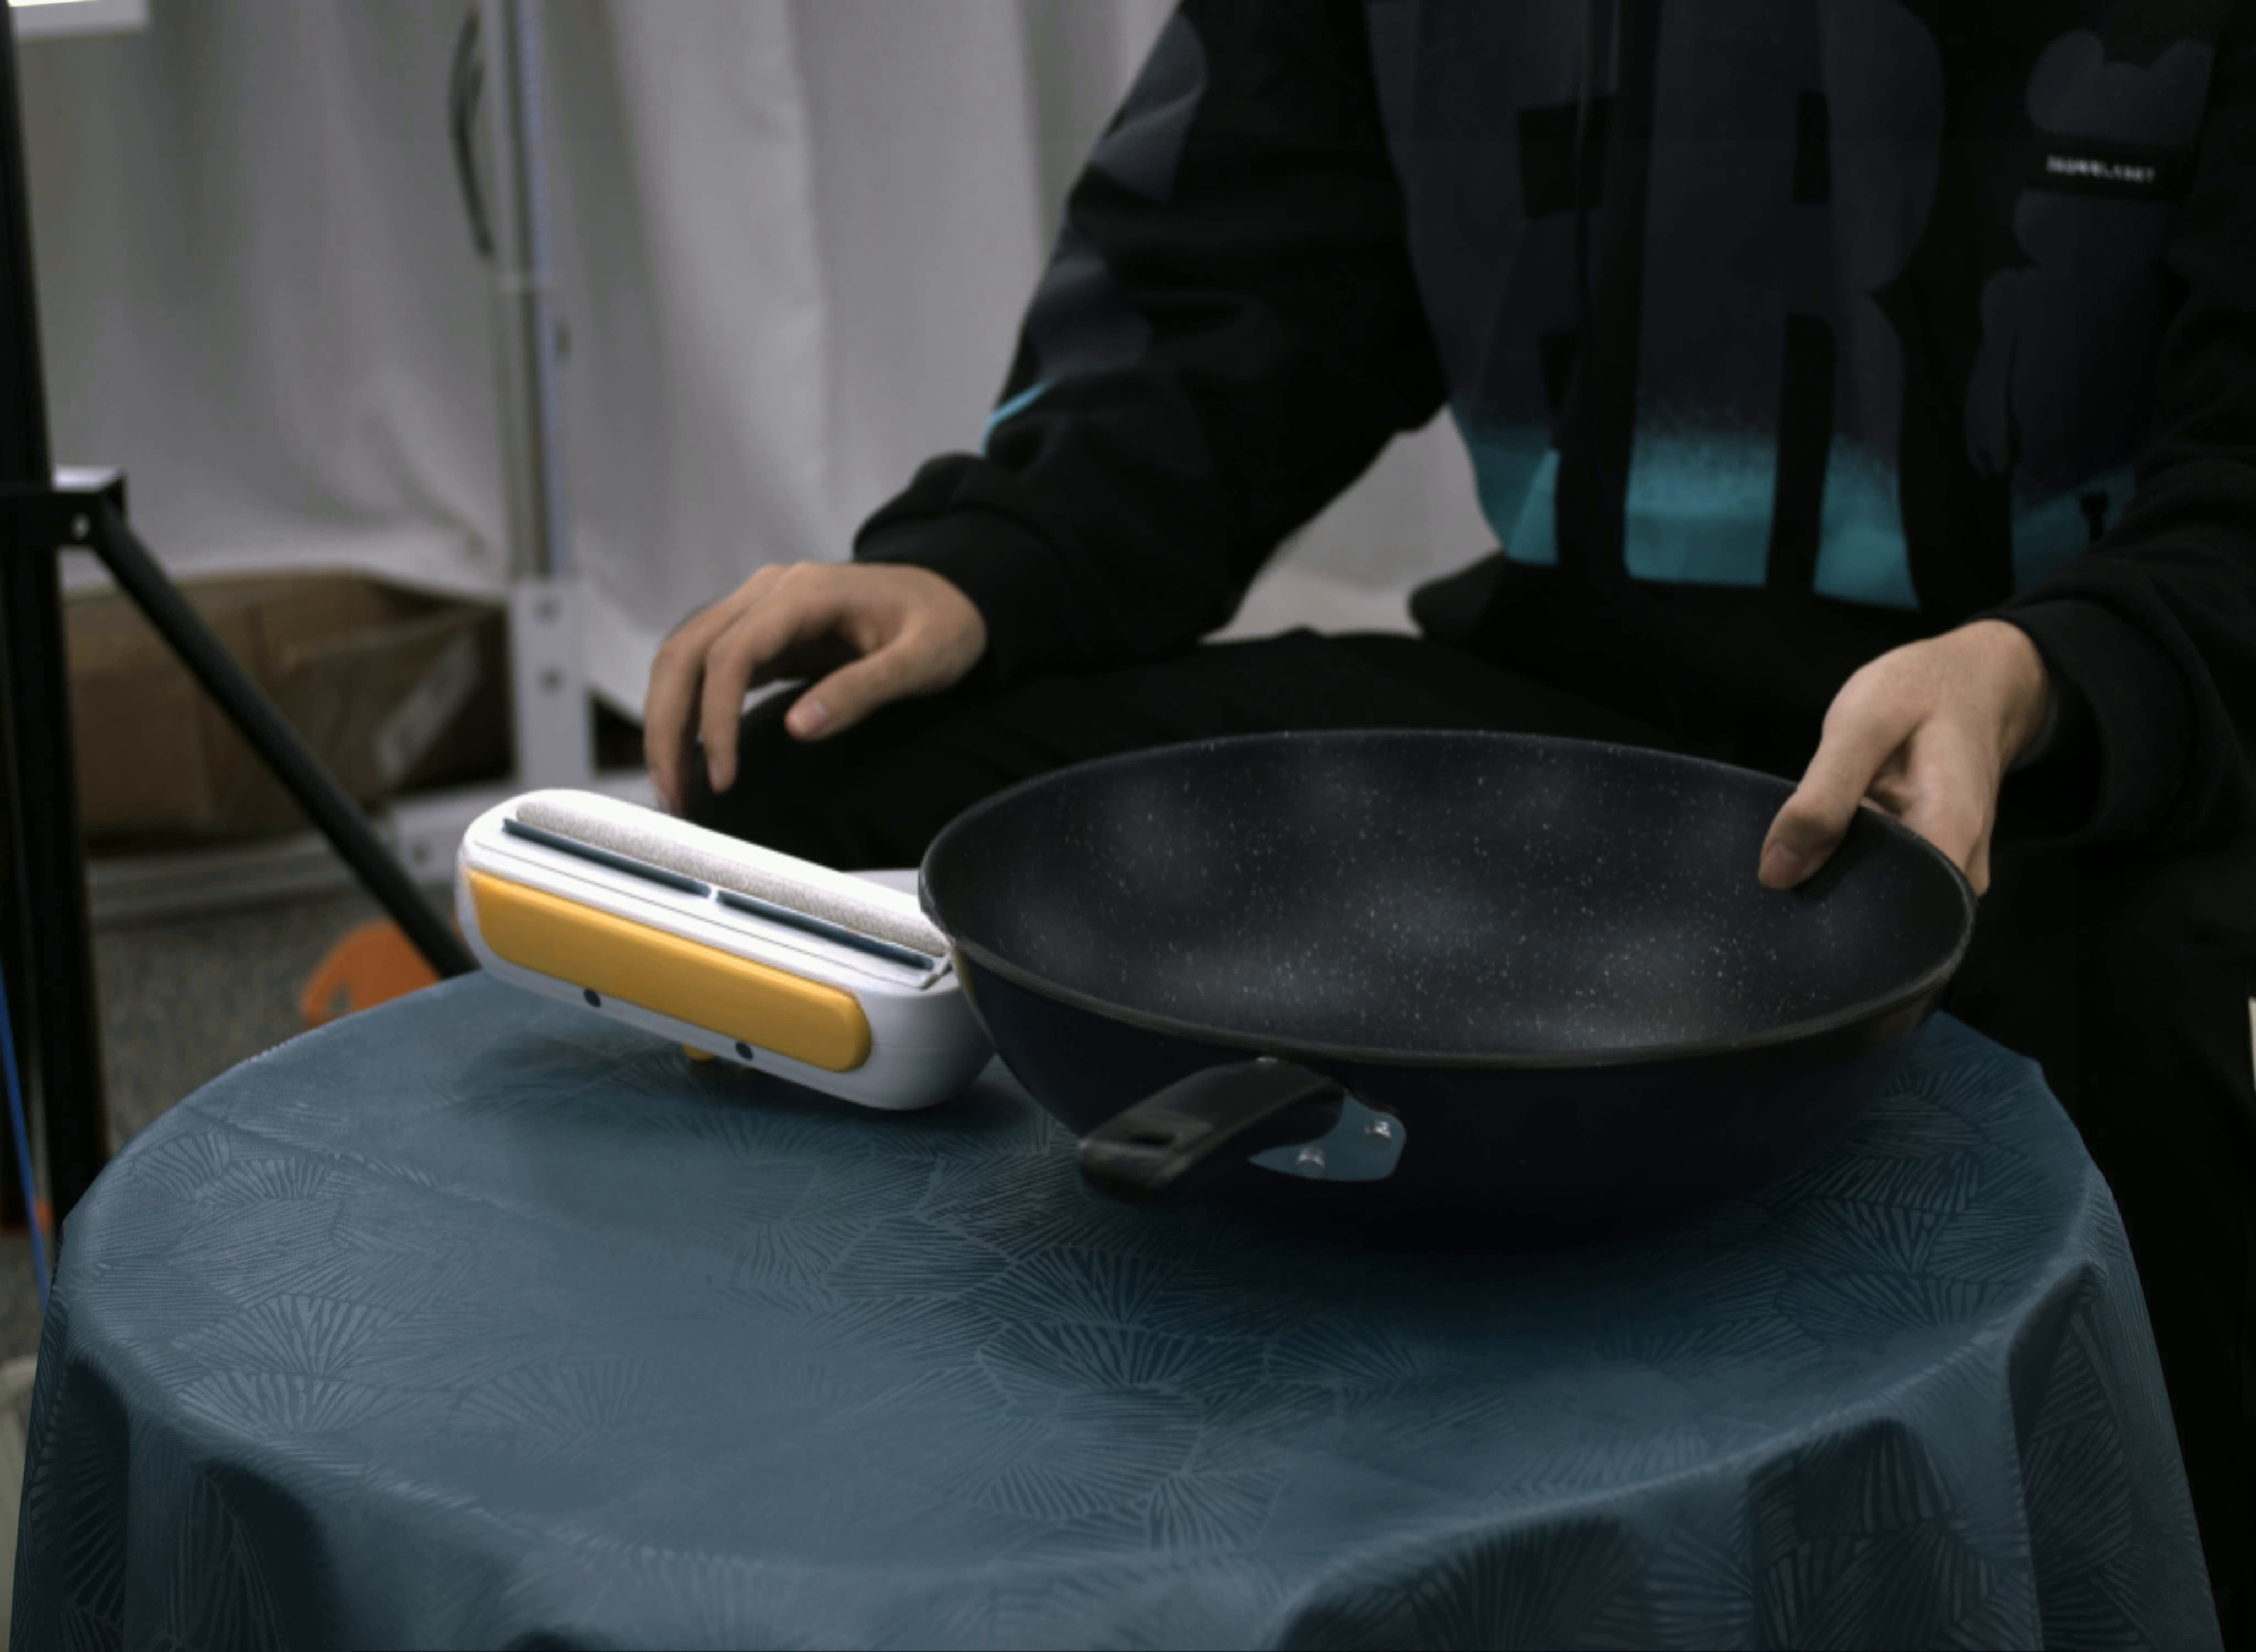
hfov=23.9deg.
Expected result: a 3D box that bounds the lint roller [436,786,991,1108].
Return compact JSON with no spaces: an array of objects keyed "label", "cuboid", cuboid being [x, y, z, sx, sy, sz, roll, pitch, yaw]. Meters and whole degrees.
[{"label":"lint roller","cuboid":[-0.100,0.030,1.726,0.196,0.074,0.188,14,20,32]}]

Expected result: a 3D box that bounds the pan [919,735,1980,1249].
[{"label":"pan","cuboid":[0.069,0.067,1.482,0.313,0.111,0.472,4,17,17]}]
